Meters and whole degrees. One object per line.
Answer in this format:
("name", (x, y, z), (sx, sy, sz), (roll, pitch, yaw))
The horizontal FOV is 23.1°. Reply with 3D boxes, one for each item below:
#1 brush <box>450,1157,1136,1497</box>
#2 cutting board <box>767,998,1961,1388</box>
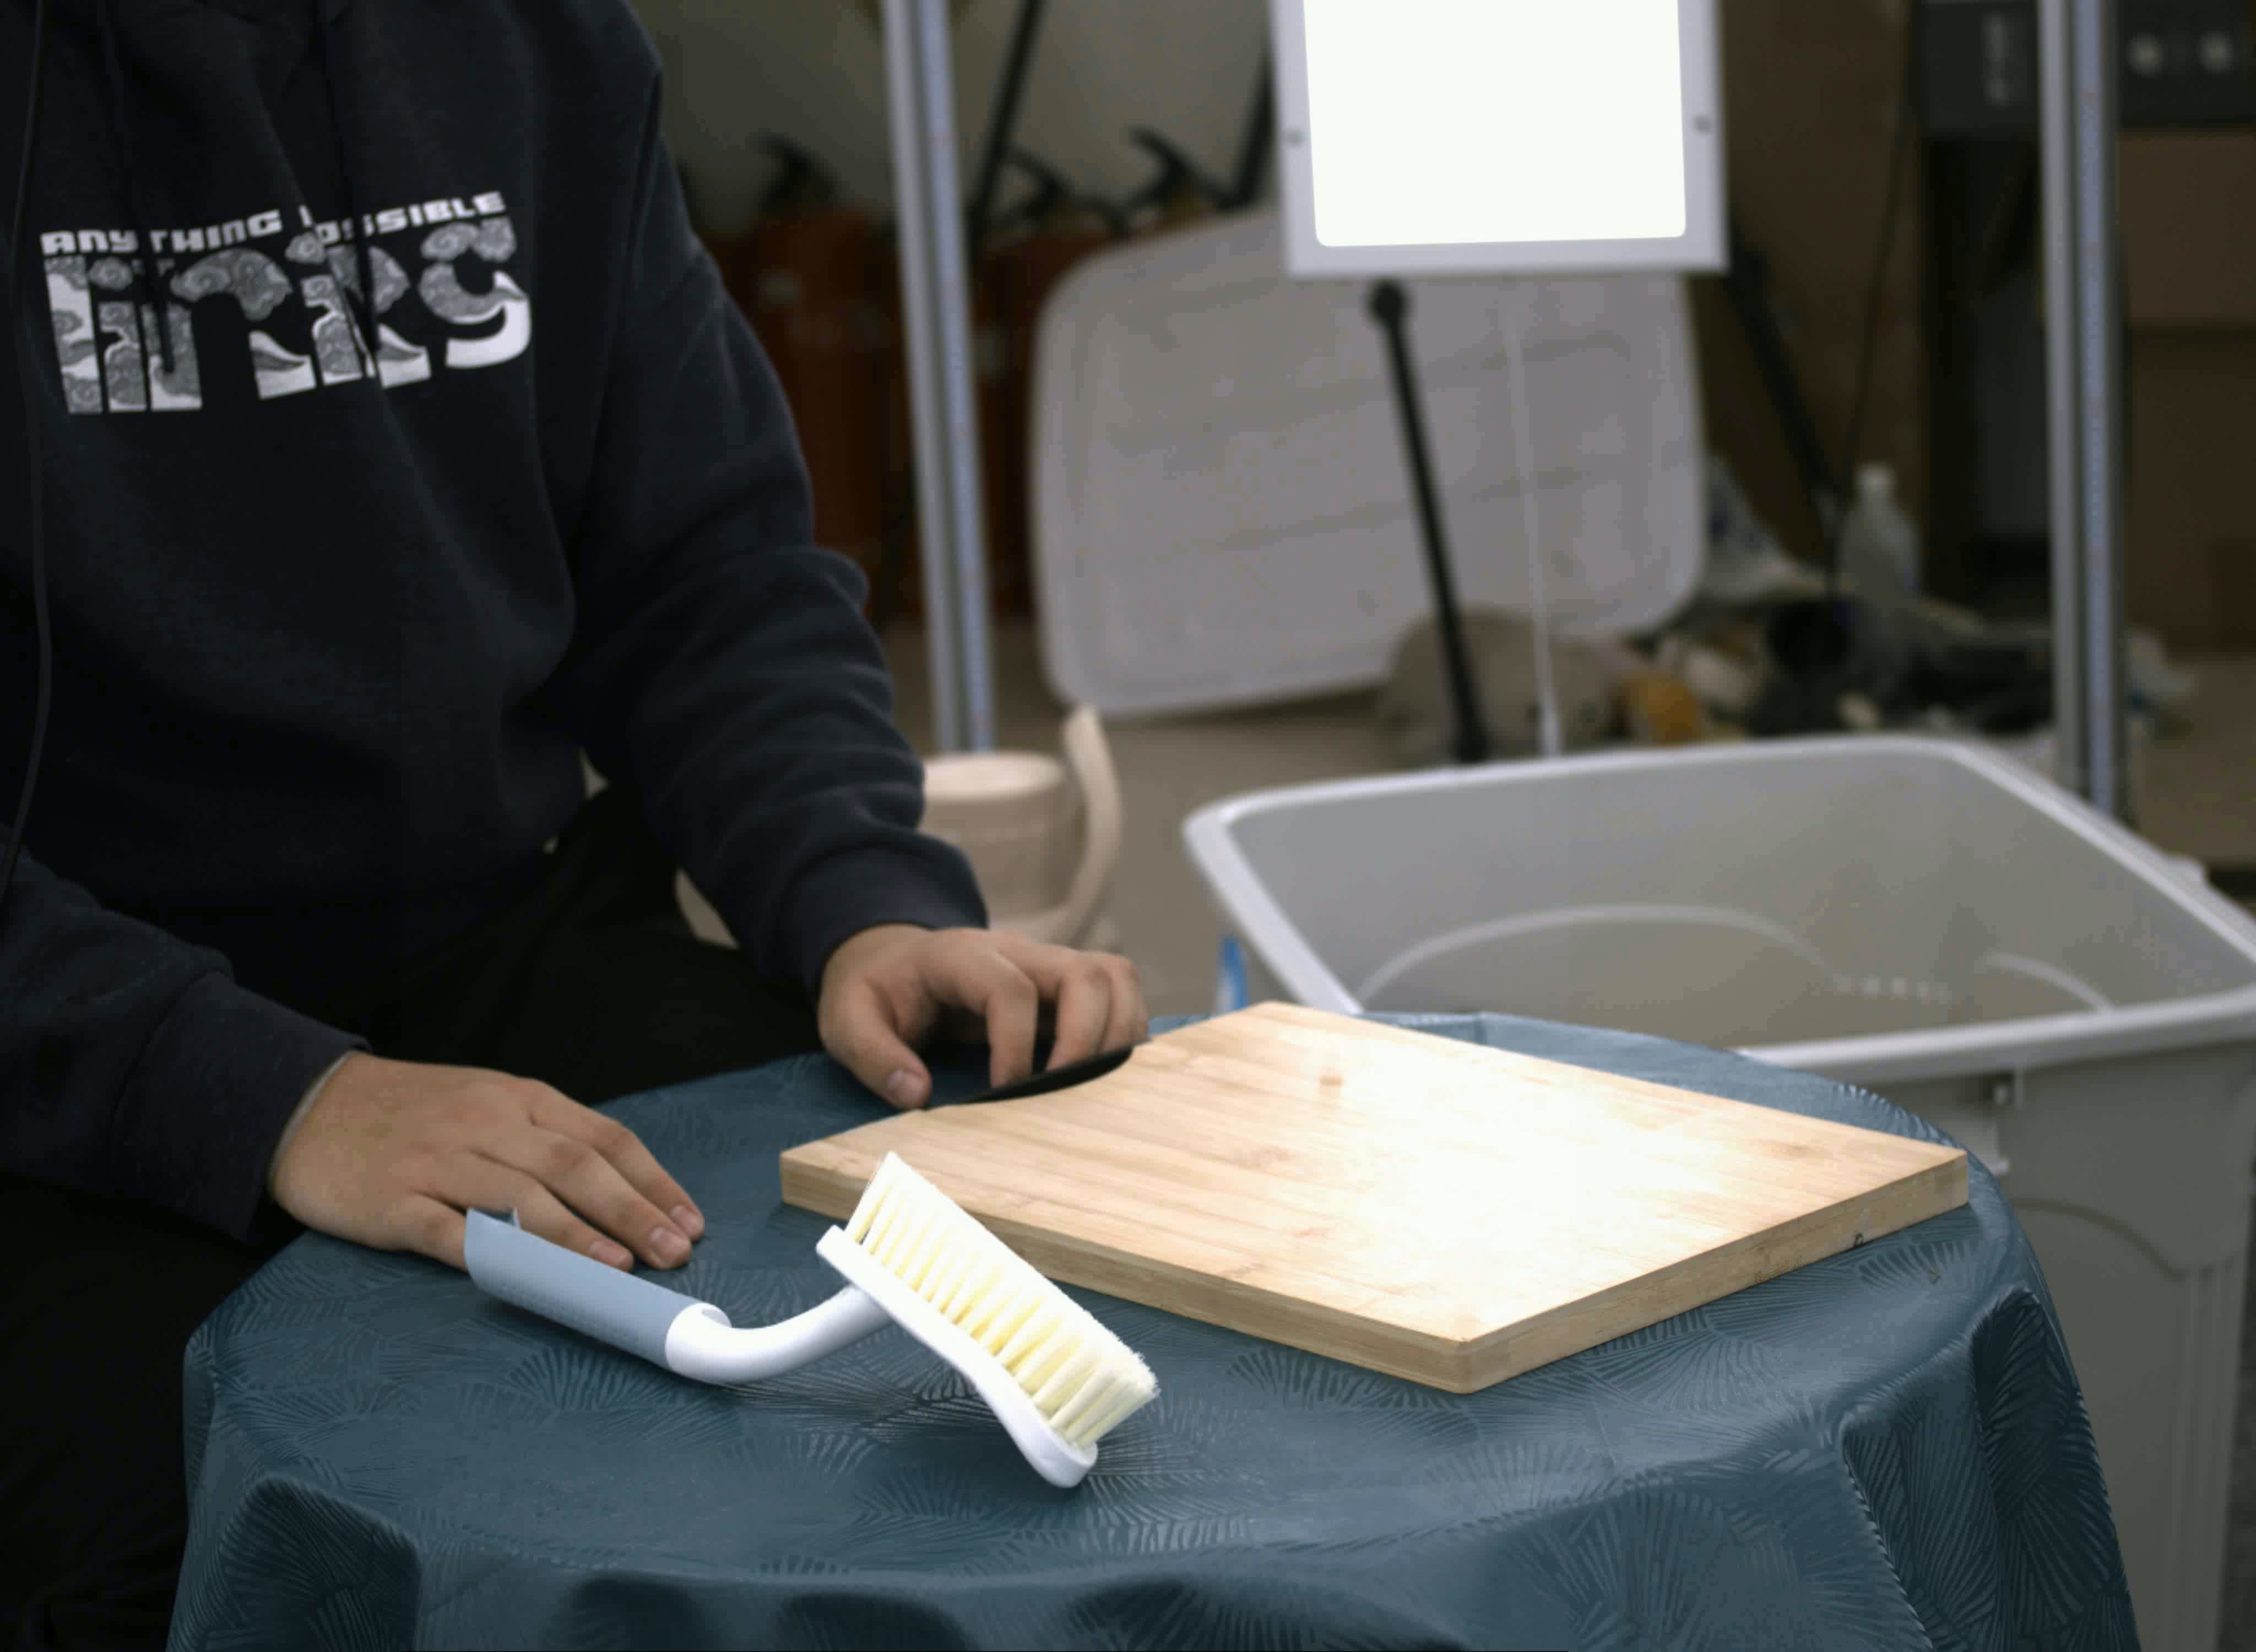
("brush", (-0.107, 0.133, 1.733), (0.082, 0.083, 0.332), (-24, 23, -33))
("cutting board", (0.075, 0.119, 1.869), (0.244, 0.023, 0.356), (-15, 17, -39))
